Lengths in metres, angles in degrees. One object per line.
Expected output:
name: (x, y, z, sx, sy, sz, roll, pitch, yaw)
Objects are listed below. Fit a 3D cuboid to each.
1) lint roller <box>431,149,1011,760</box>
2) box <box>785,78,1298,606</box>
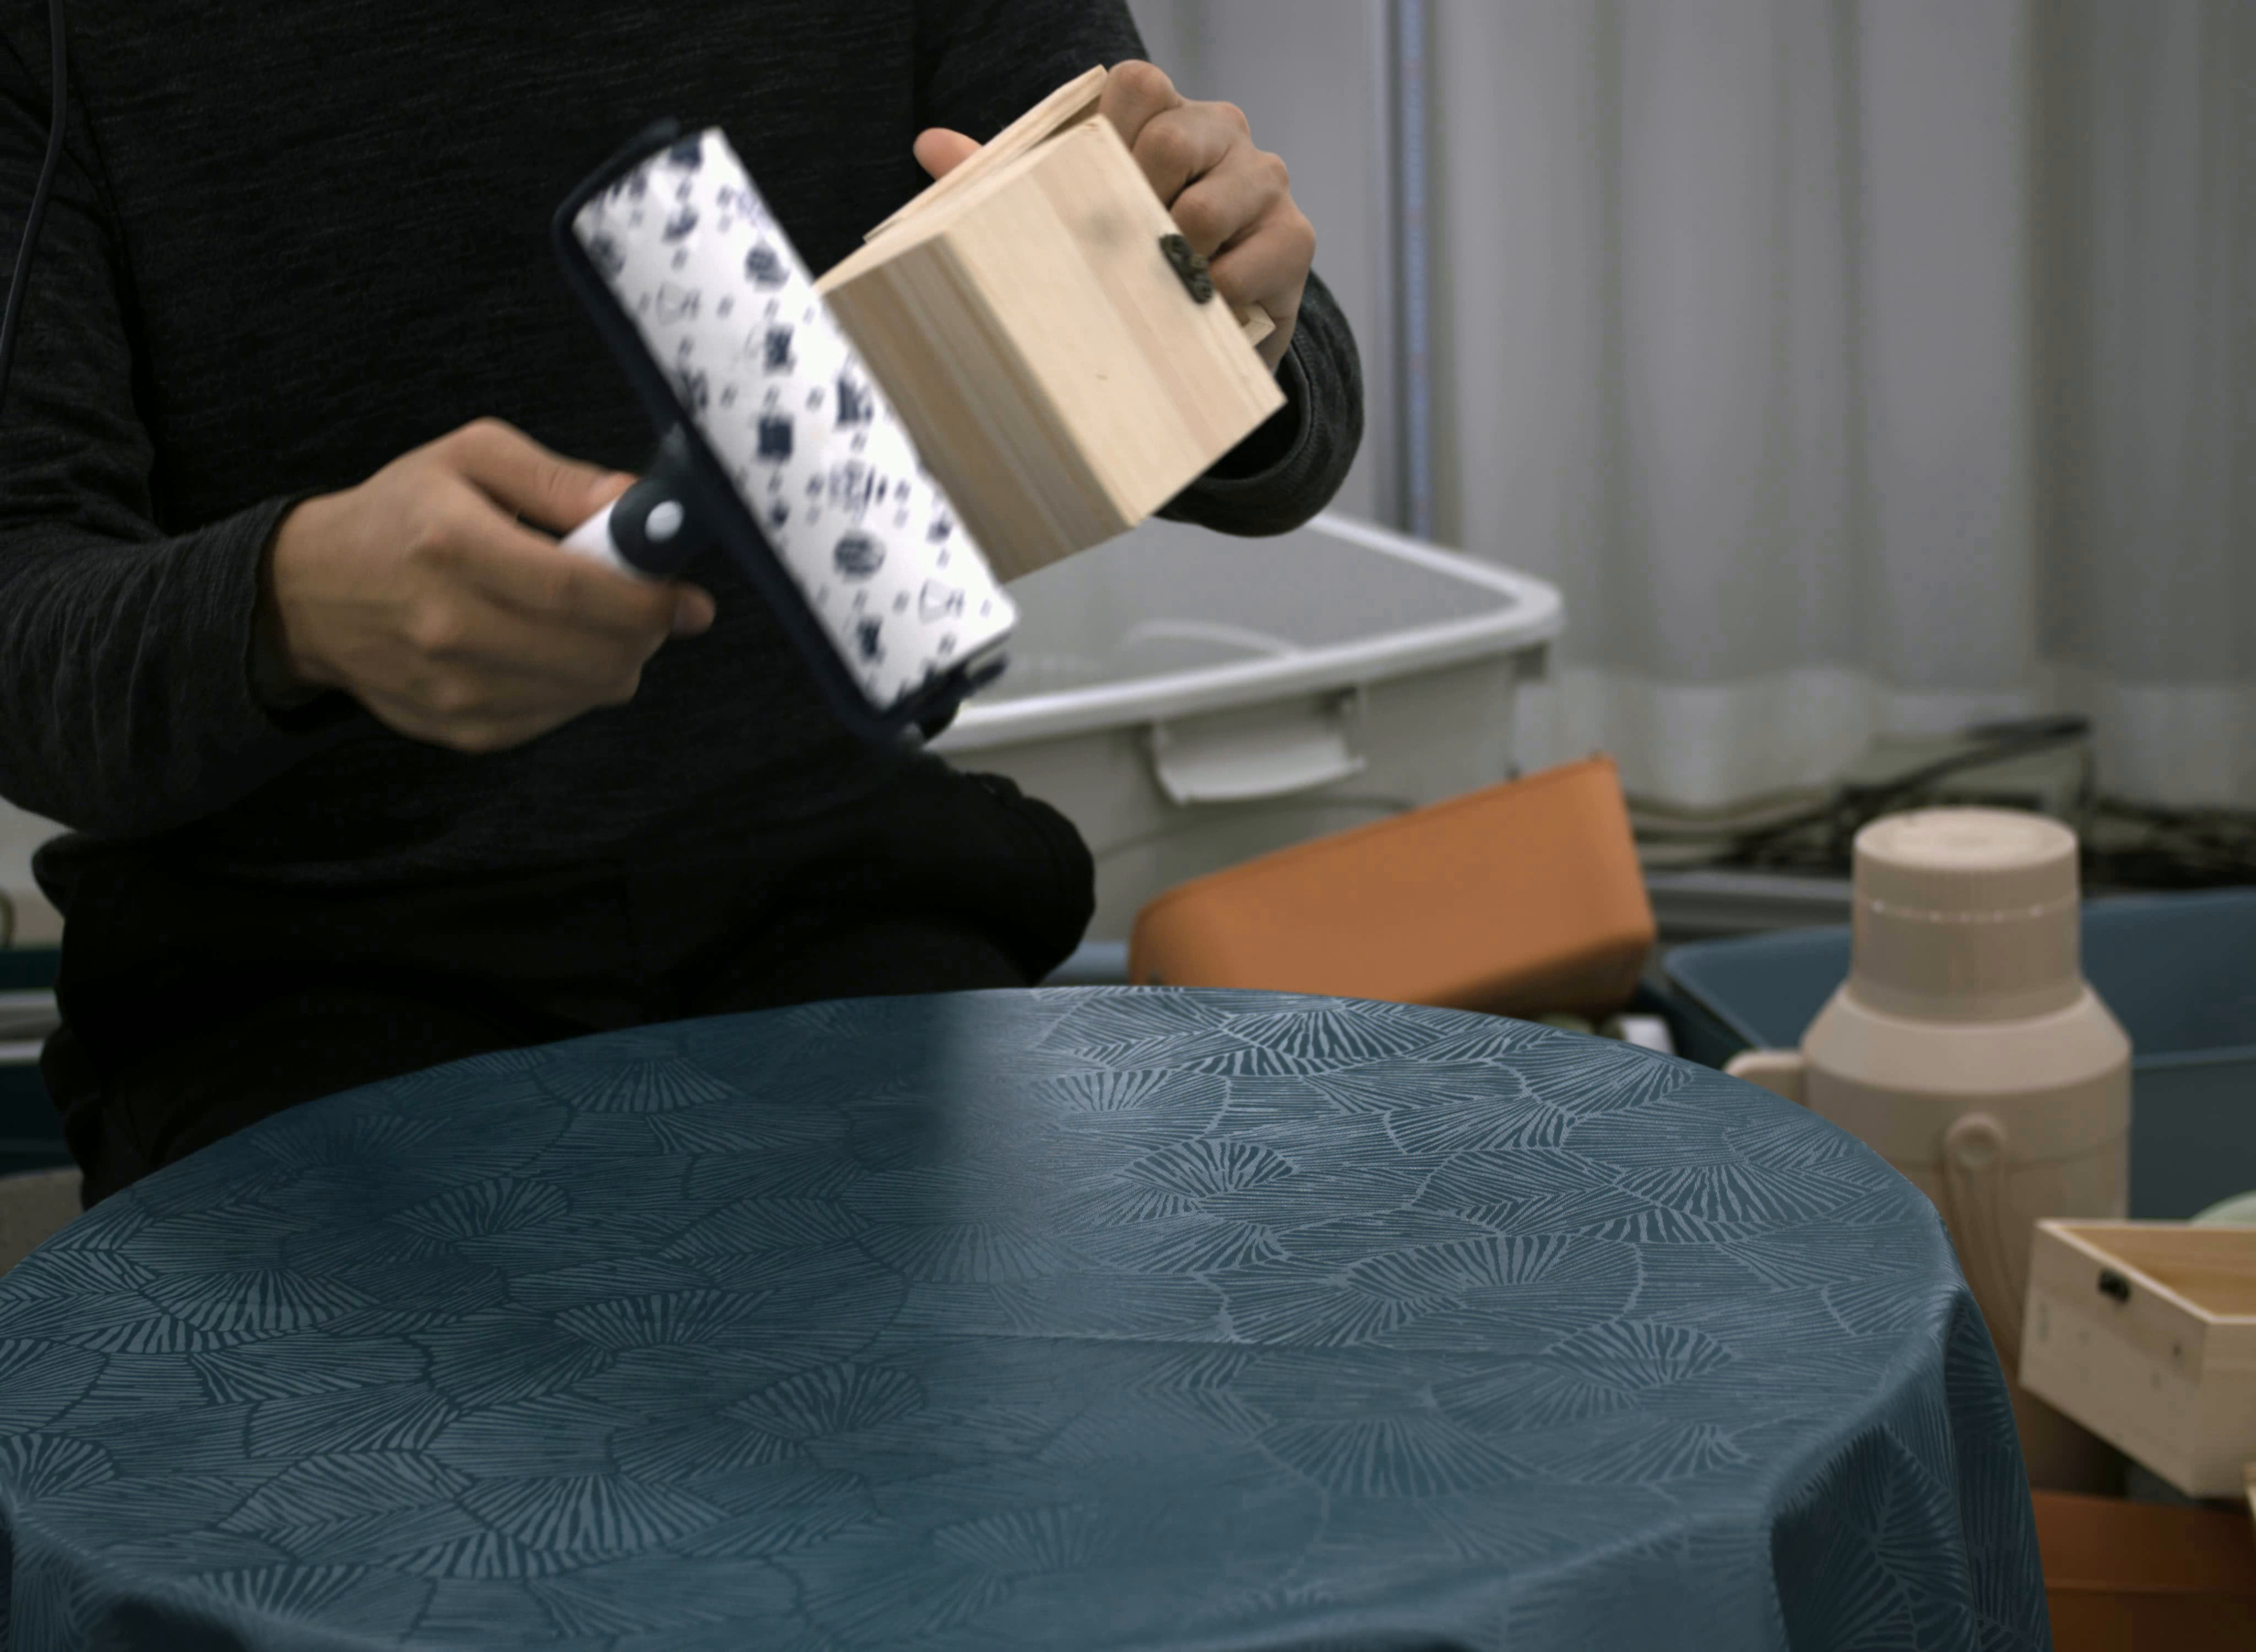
lint roller: (-0.146, -0.072, 1.585, 0.050, 0.176, 0.246, -33, 1, -39)
box: (-0.005, -0.159, 1.647, 0.133, 0.102, 0.185, -21, 15, 48)
